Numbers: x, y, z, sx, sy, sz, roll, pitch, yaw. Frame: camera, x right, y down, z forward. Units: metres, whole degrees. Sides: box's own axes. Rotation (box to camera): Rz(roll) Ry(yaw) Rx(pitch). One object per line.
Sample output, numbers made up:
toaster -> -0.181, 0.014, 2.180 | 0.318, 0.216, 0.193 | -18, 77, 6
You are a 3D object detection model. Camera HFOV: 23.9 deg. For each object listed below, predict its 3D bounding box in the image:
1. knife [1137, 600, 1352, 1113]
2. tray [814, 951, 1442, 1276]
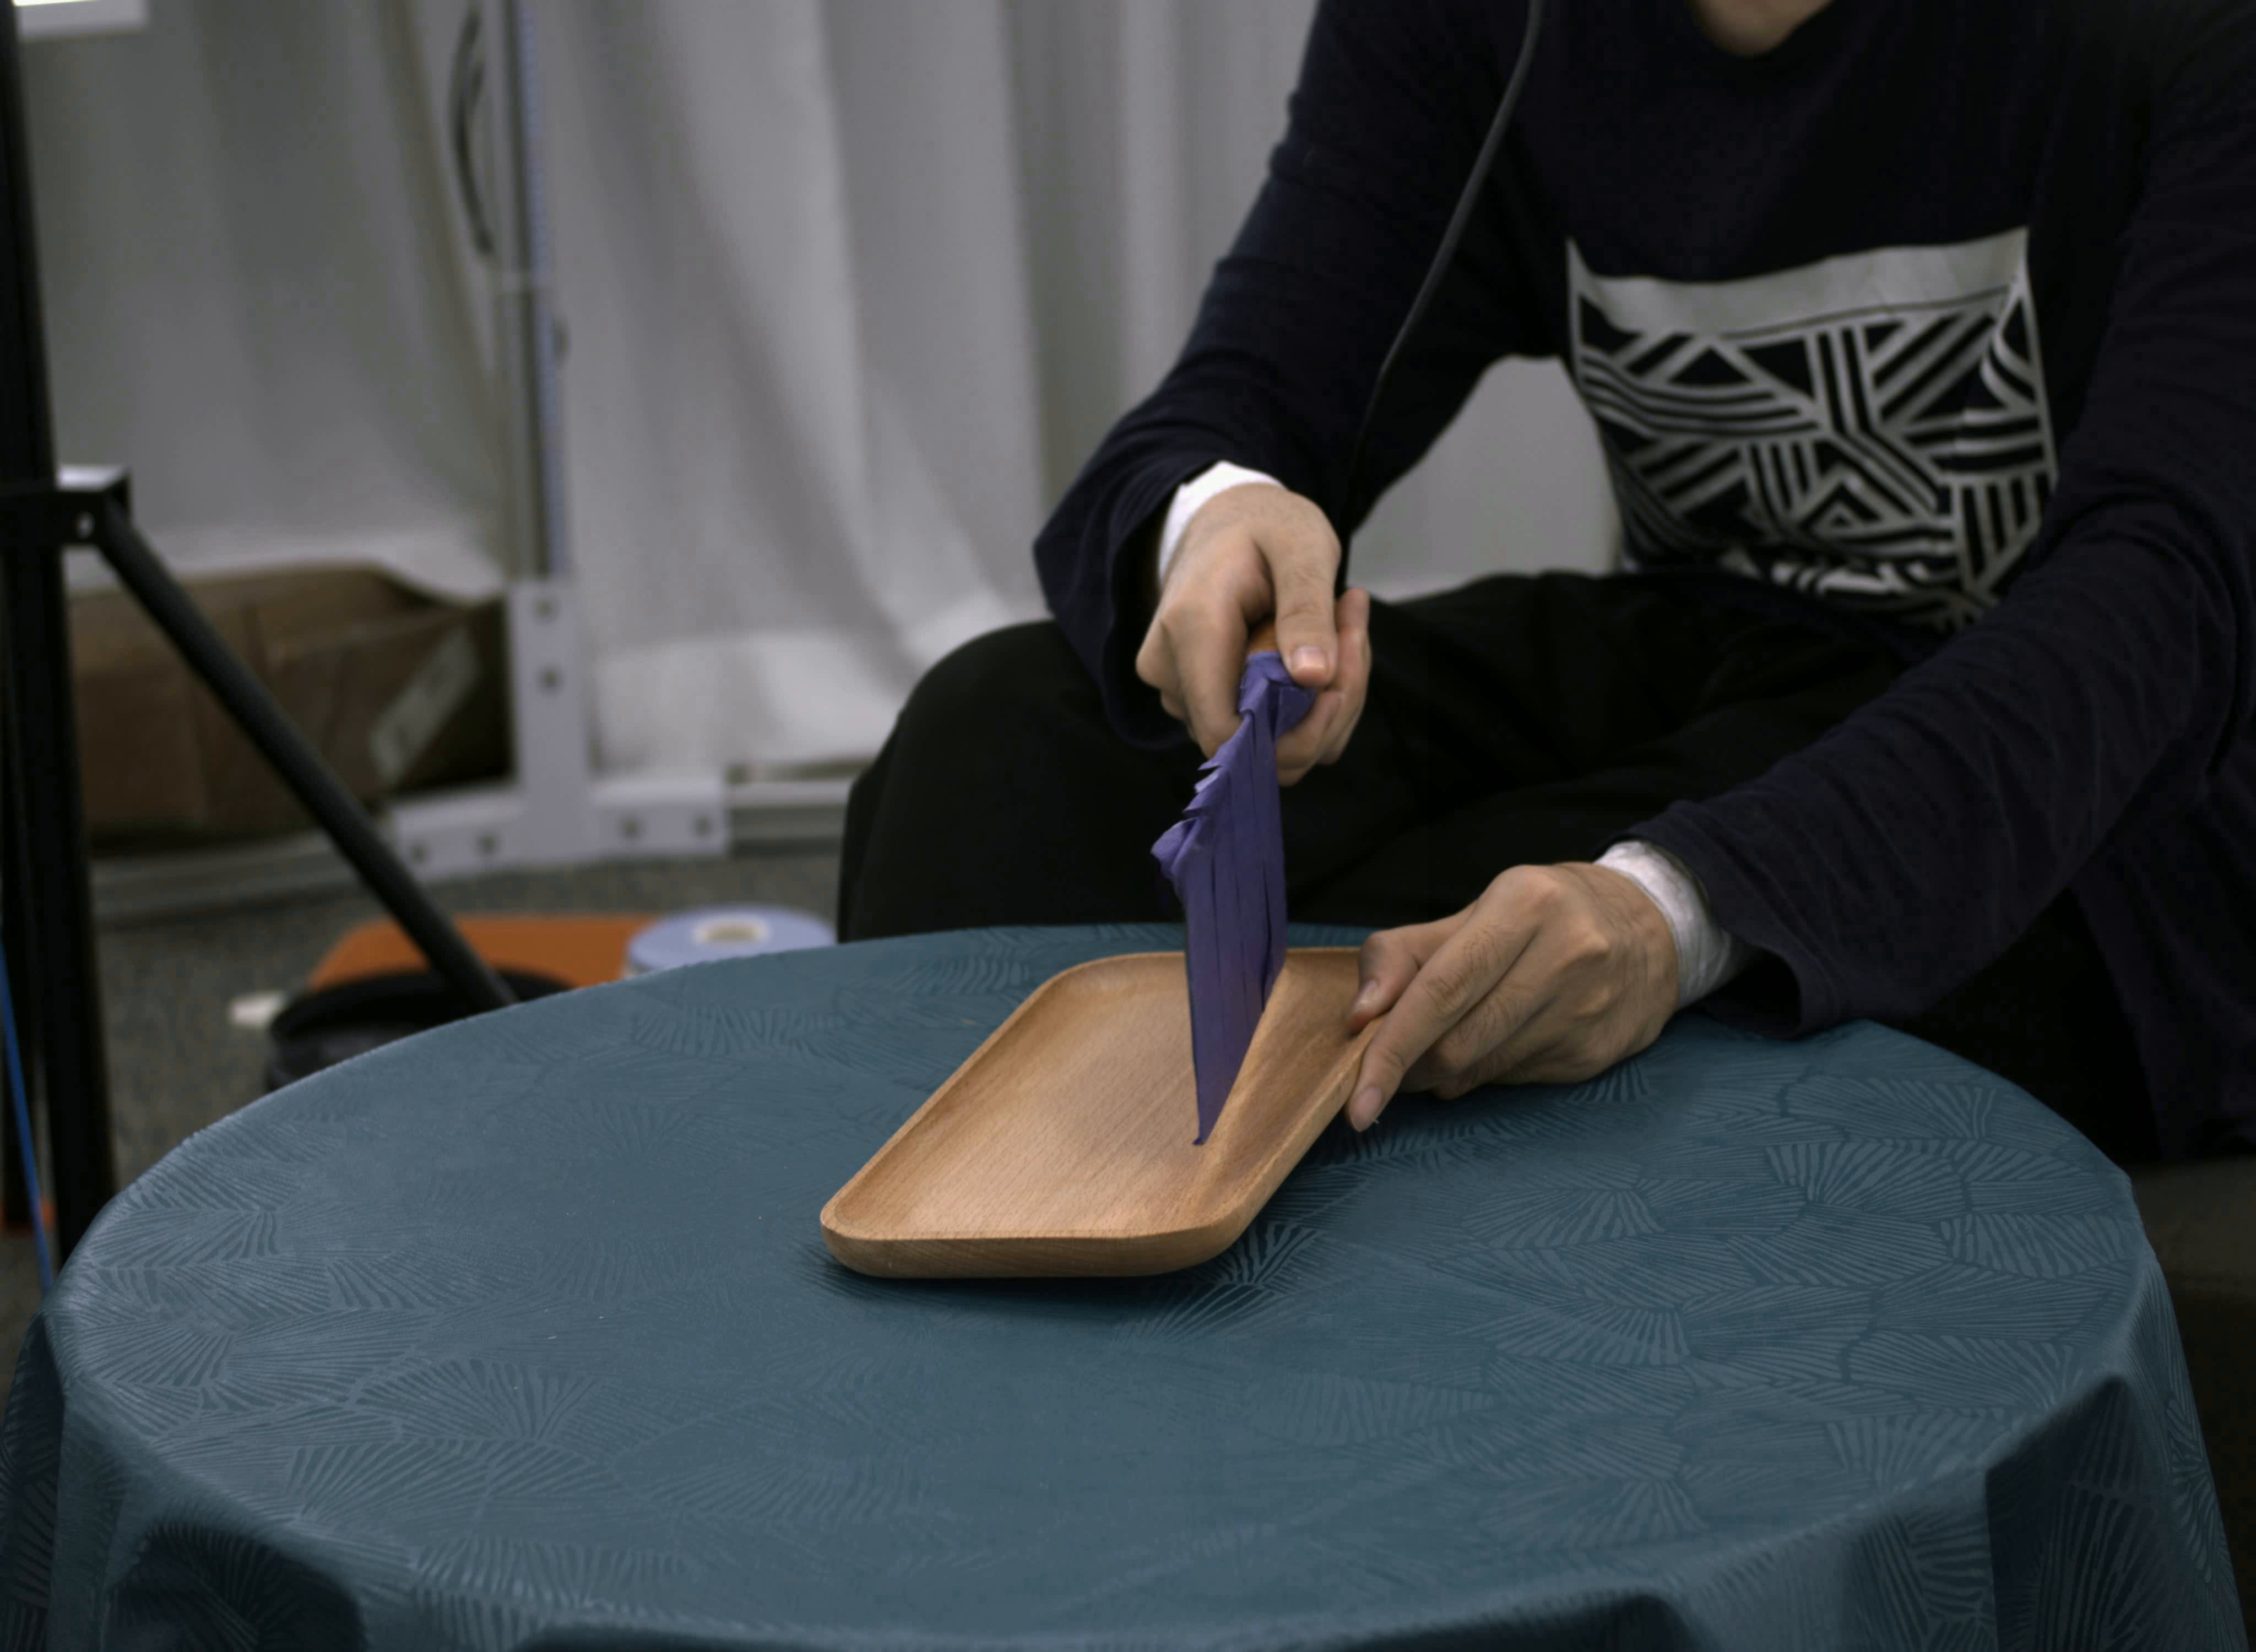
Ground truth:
knife -> 0.035, 0.007, 1.645 | 0.032, 0.104, 0.313 | -1, 15, 11
tray -> 0.005, 0.084, 1.587 | 0.132, 0.023, 0.247 | 1, 17, 22
